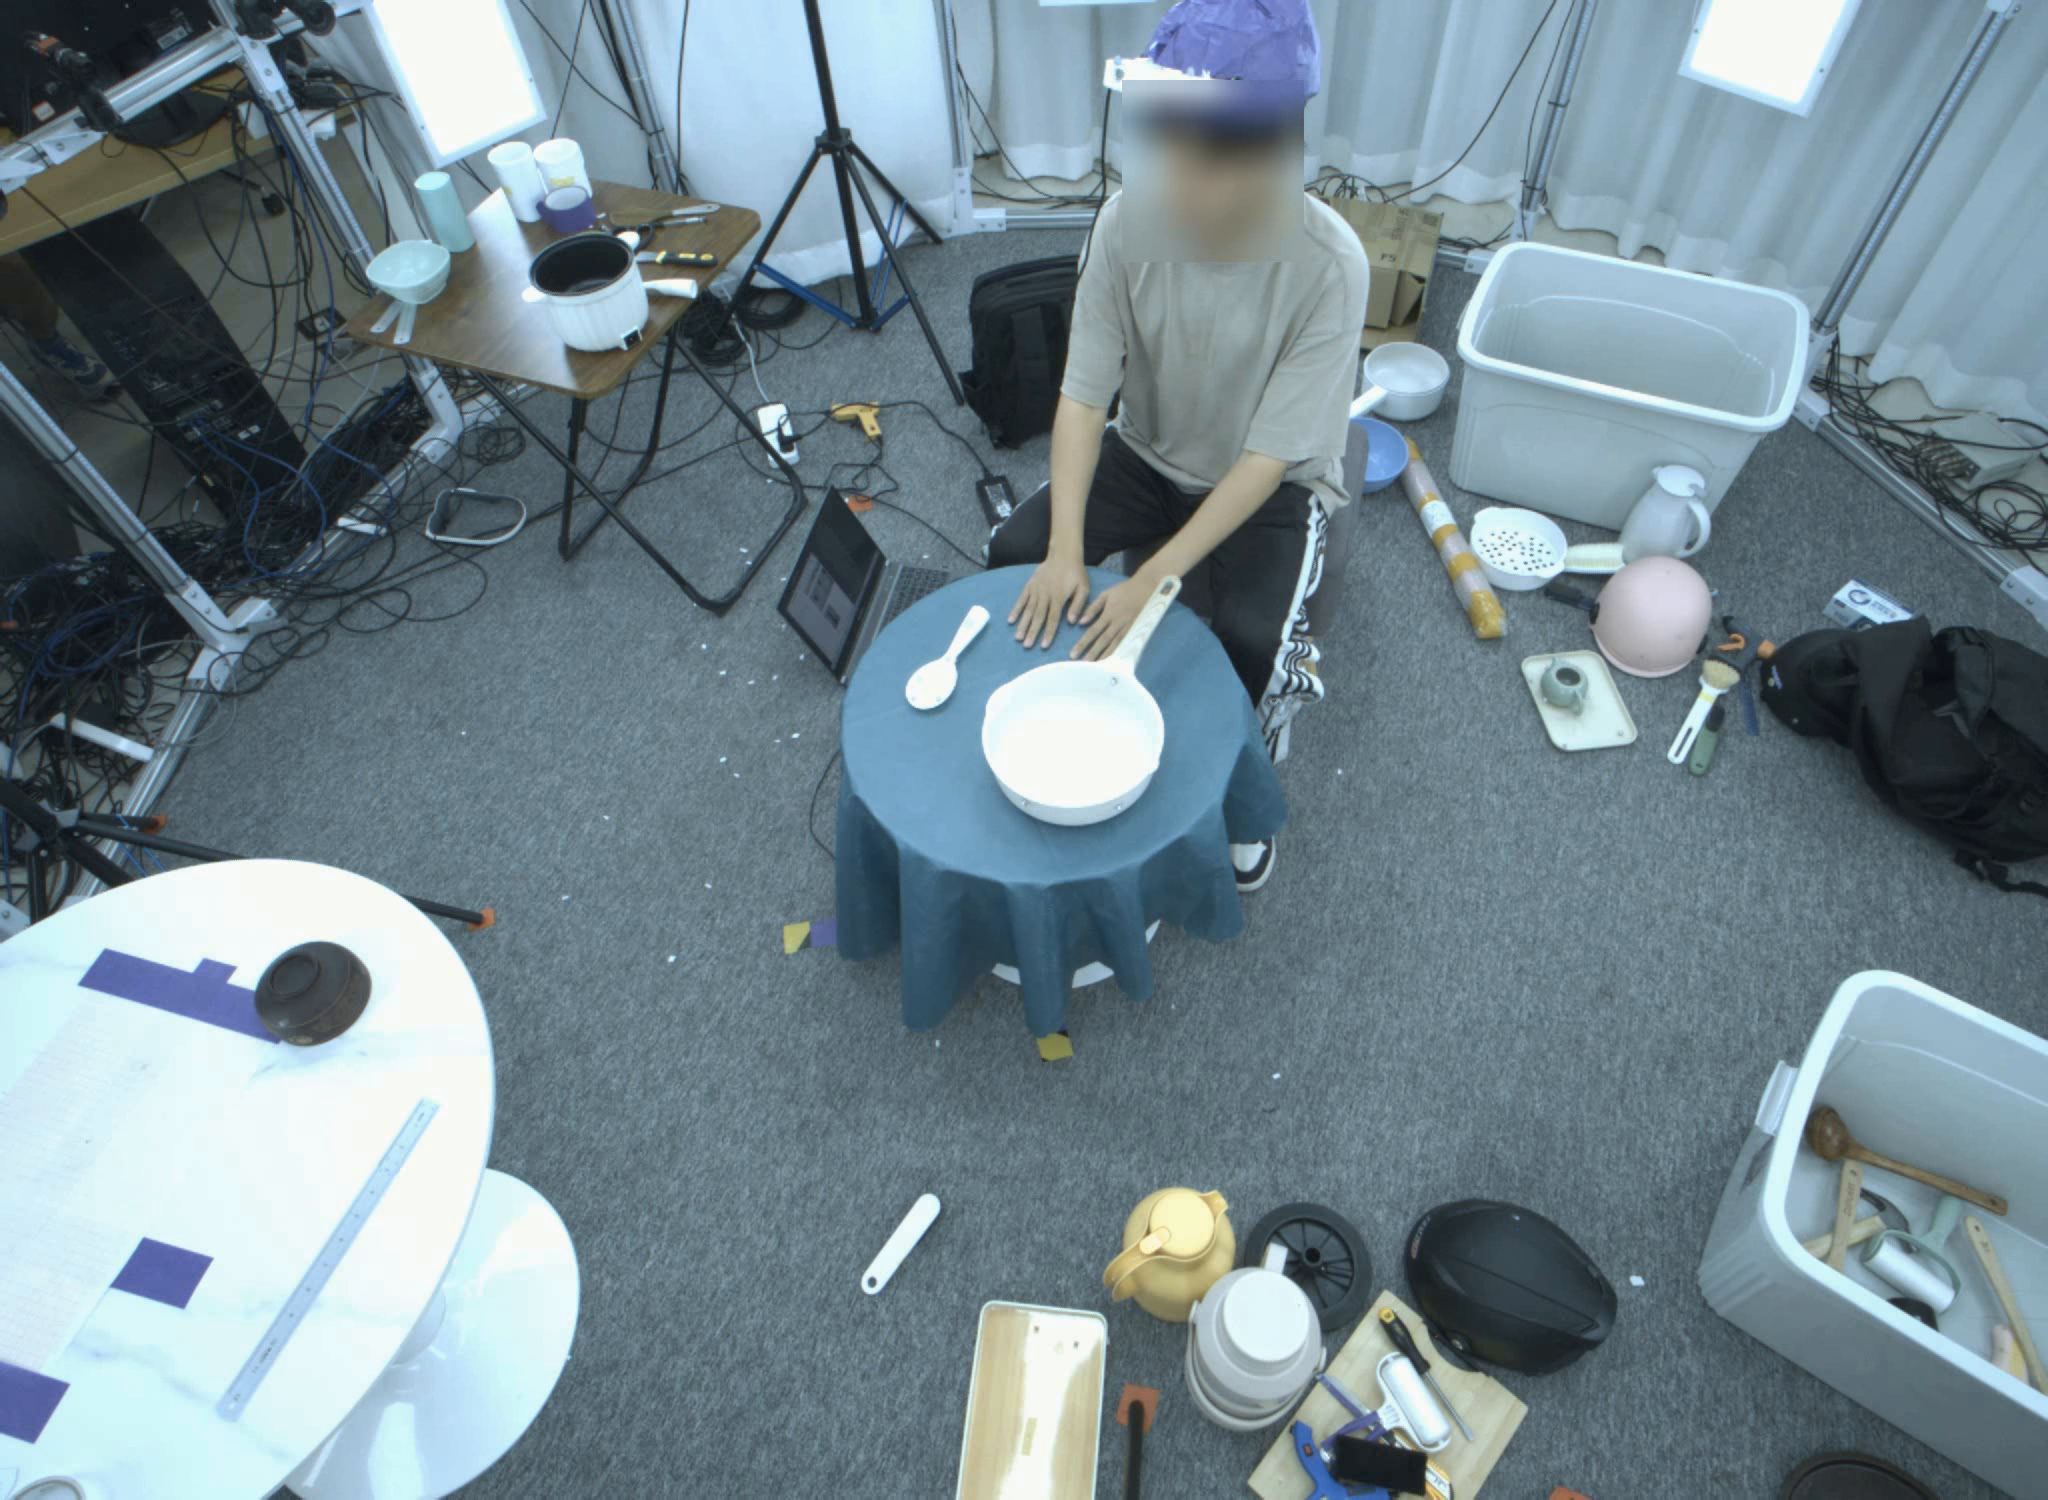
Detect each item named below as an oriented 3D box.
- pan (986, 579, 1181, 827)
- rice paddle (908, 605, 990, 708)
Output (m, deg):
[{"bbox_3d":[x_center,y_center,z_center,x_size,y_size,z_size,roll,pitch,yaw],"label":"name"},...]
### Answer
[{"bbox_3d":[0.121,-0.070,1.773,0.259,0.103,0.436,23,58,21],"label":"pan"},{"bbox_3d":[-0.112,-0.142,1.870,0.068,0.030,0.205,20,58,18],"label":"rice paddle"}]
